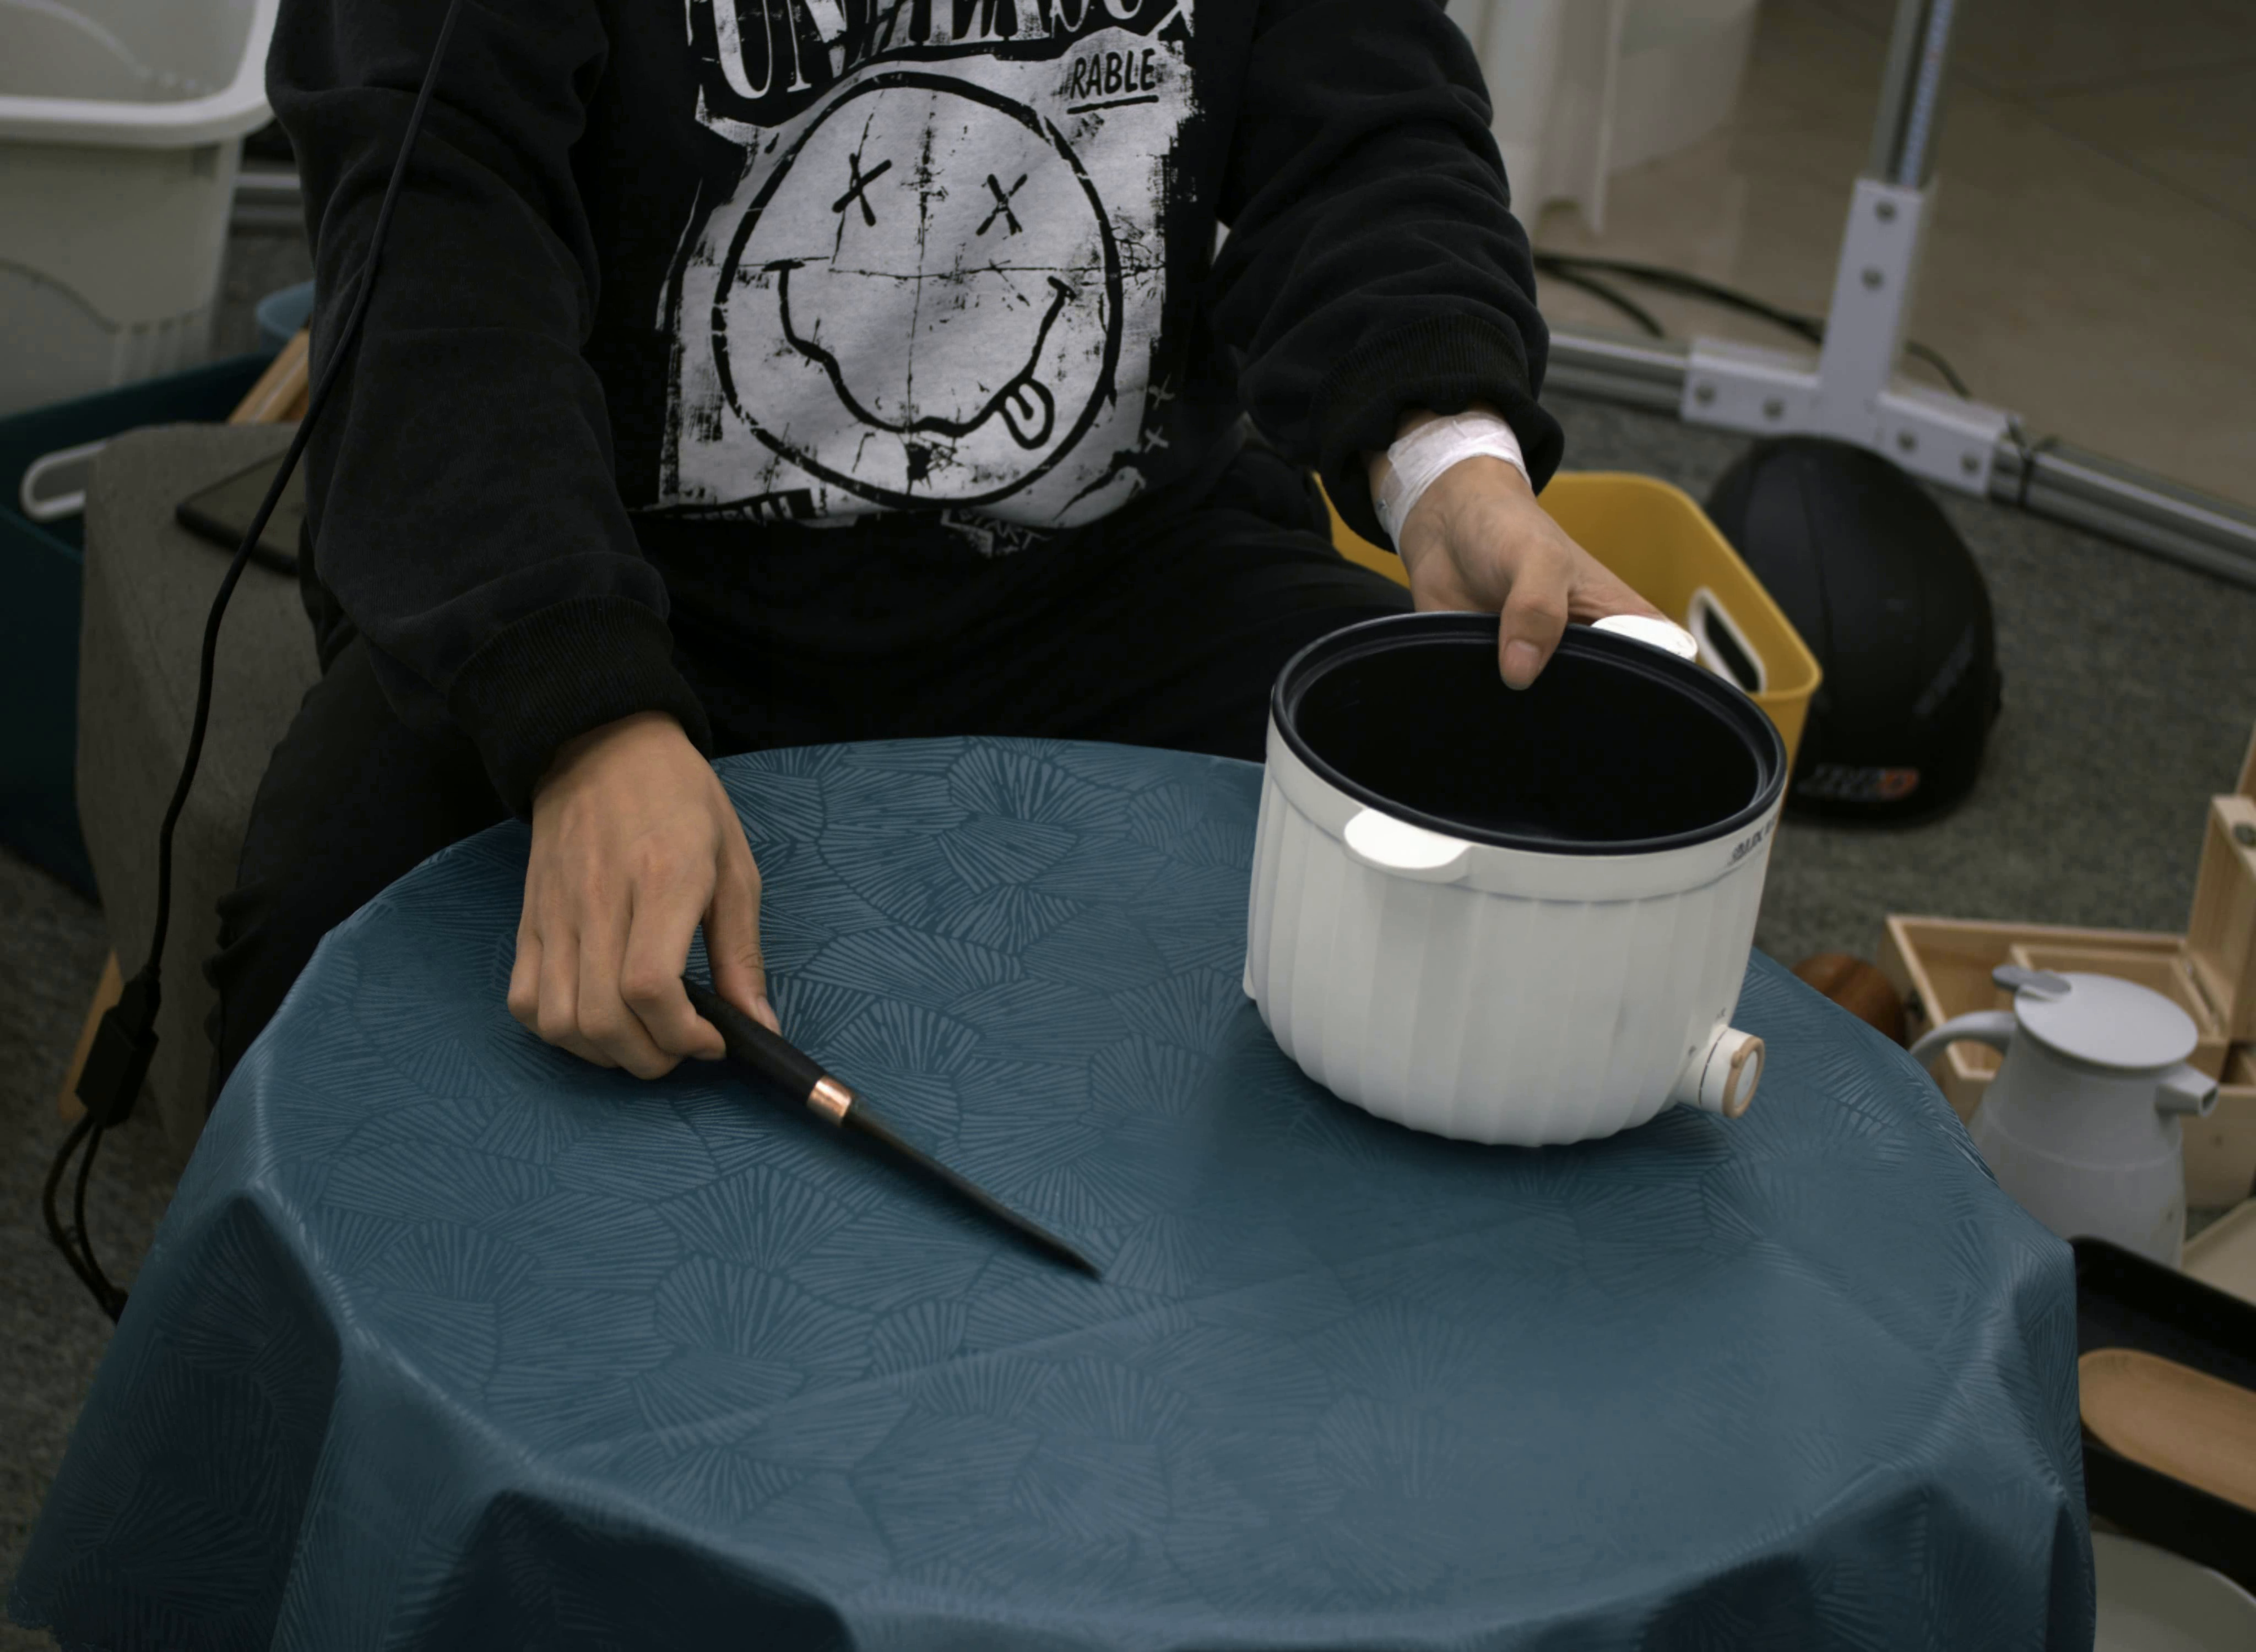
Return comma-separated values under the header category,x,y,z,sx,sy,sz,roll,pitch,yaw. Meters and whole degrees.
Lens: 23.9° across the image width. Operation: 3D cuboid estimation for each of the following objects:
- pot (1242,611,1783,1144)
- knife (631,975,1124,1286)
category,x,y,z,sx,sy,sz,roll,pitch,yaw
pot,0.137,0.024,1.880,0.191,0.142,0.240,15,29,24
knife,-0.088,0.103,1.812,0.227,0.017,0.026,29,-1,33
